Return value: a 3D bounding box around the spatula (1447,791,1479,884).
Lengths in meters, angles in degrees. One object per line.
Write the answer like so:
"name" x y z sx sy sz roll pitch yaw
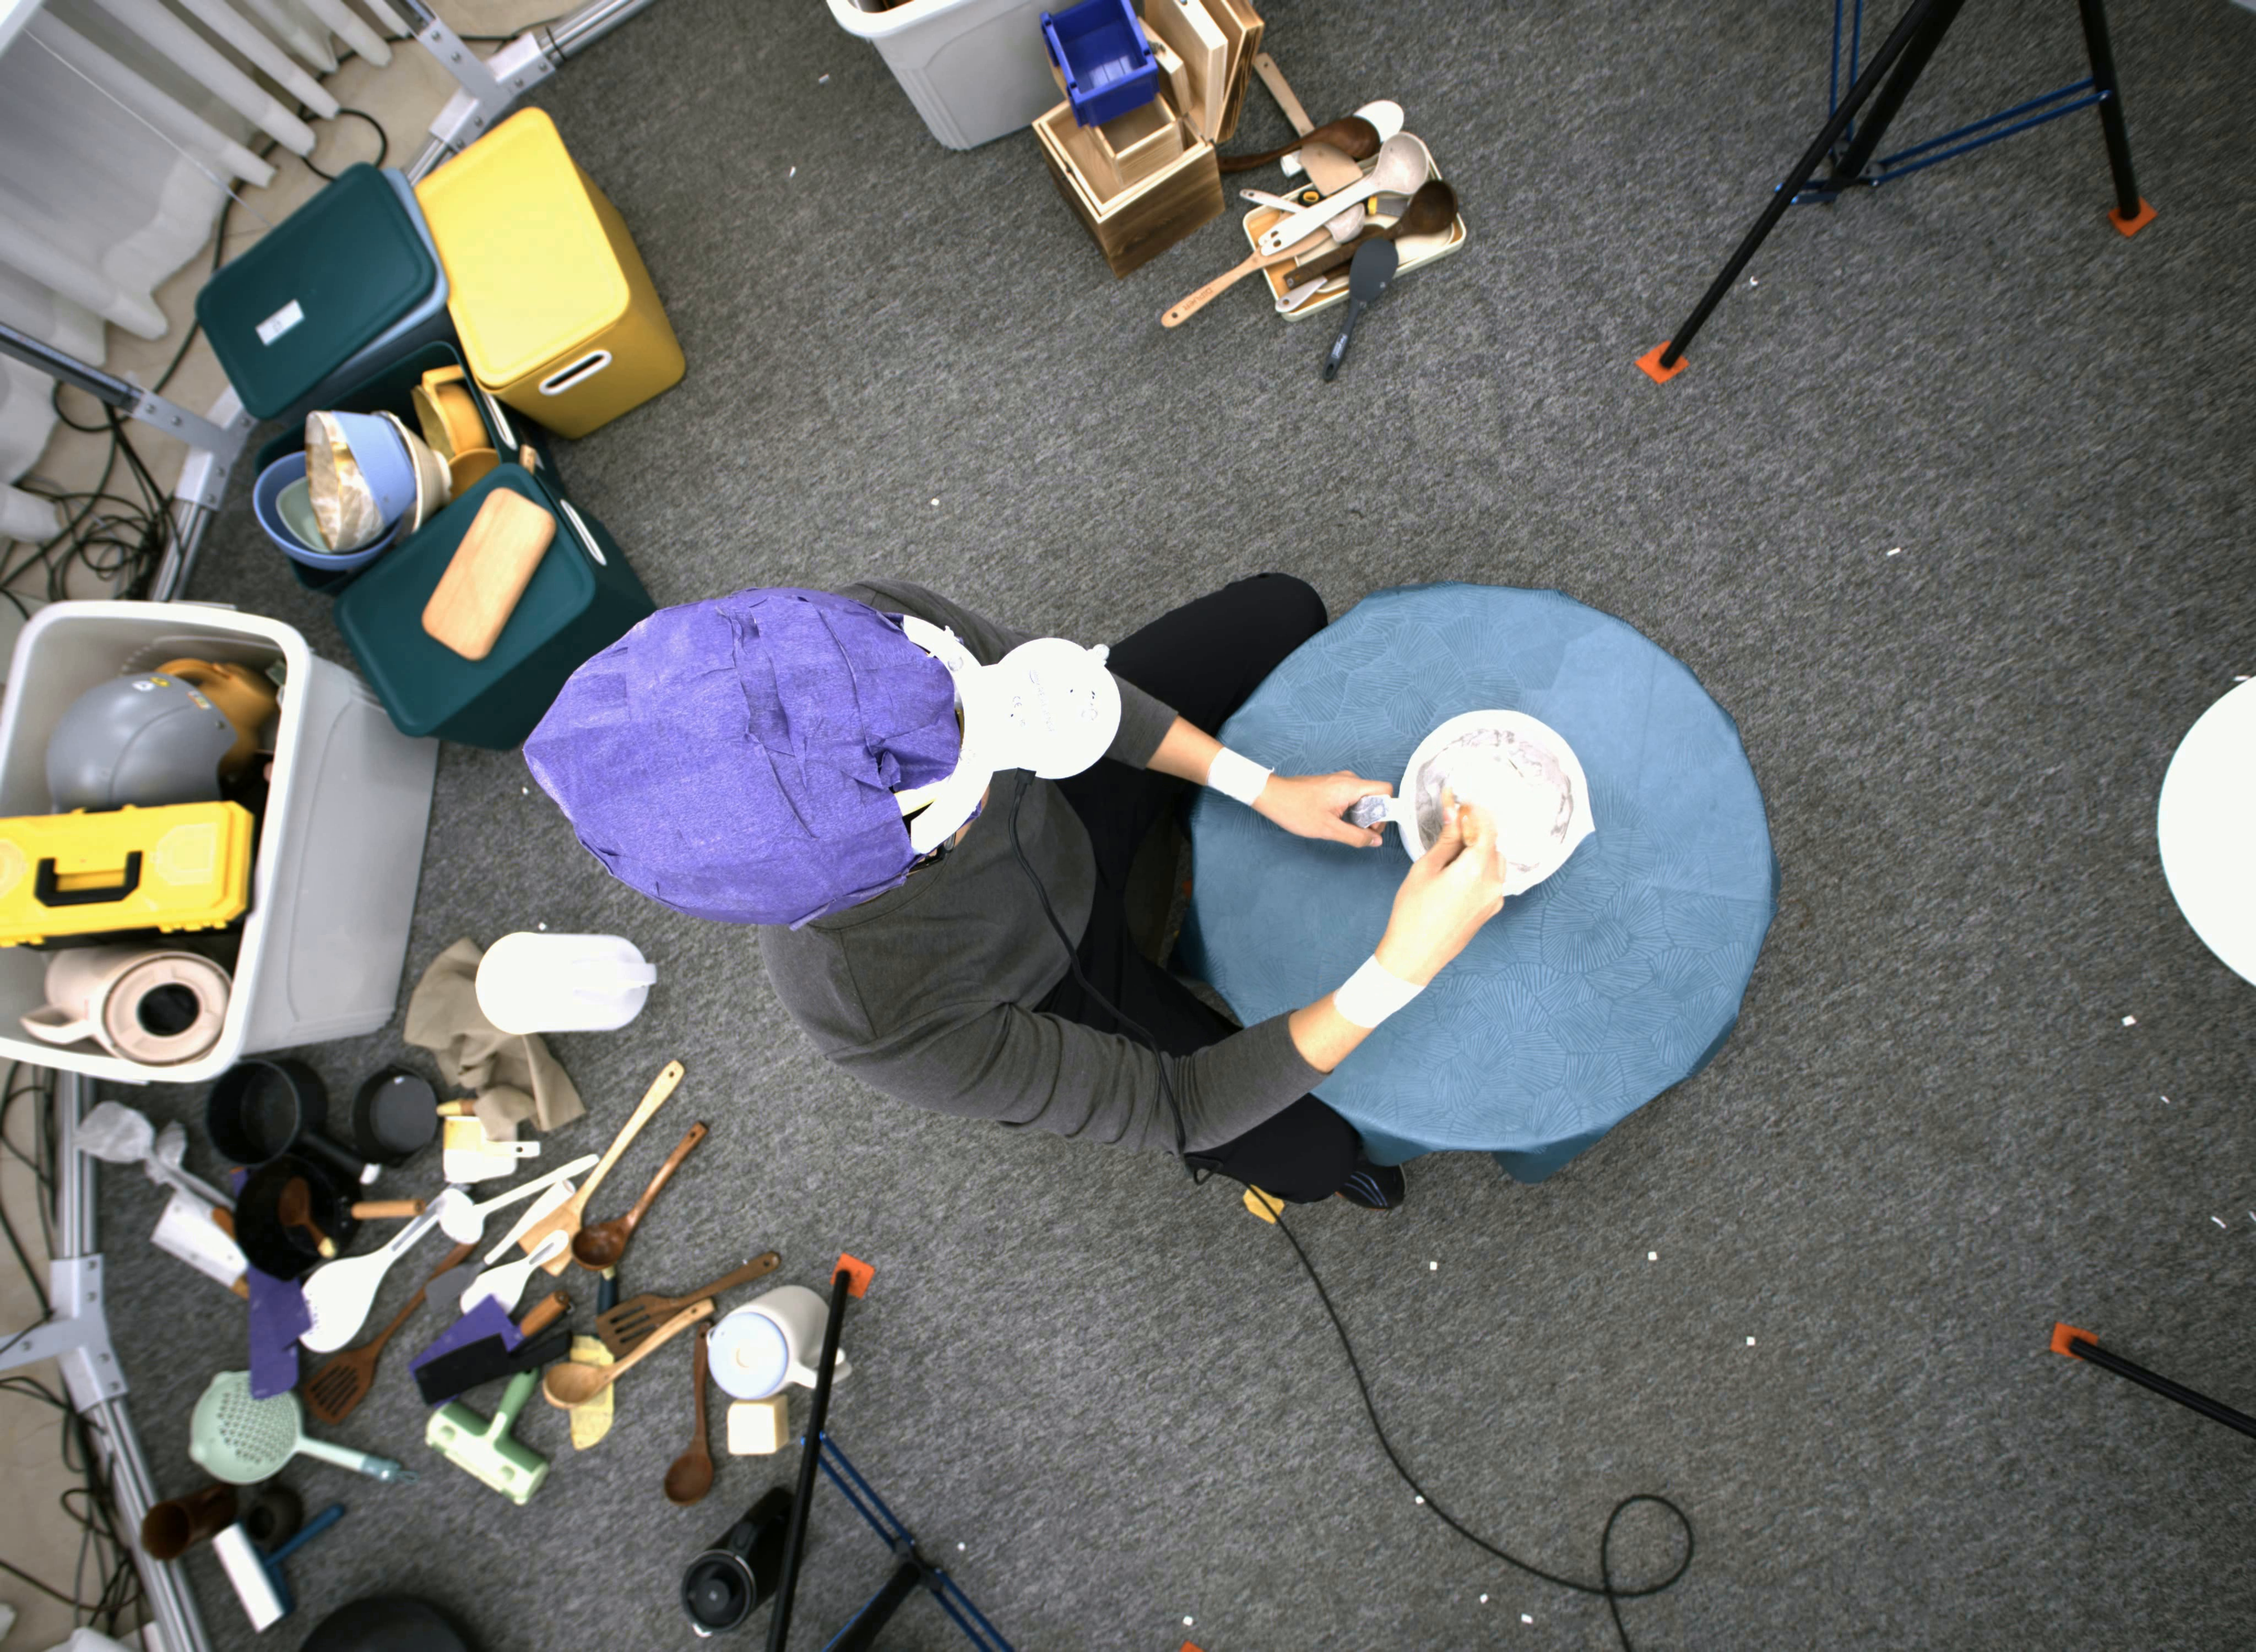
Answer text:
"spatula" 0.296 0.007 1.200 0.018 0.389 0.095 -12 86 11

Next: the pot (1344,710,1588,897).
"pot" 0.334 -0.018 1.385 0.235 0.136 0.178 -4 85 11
